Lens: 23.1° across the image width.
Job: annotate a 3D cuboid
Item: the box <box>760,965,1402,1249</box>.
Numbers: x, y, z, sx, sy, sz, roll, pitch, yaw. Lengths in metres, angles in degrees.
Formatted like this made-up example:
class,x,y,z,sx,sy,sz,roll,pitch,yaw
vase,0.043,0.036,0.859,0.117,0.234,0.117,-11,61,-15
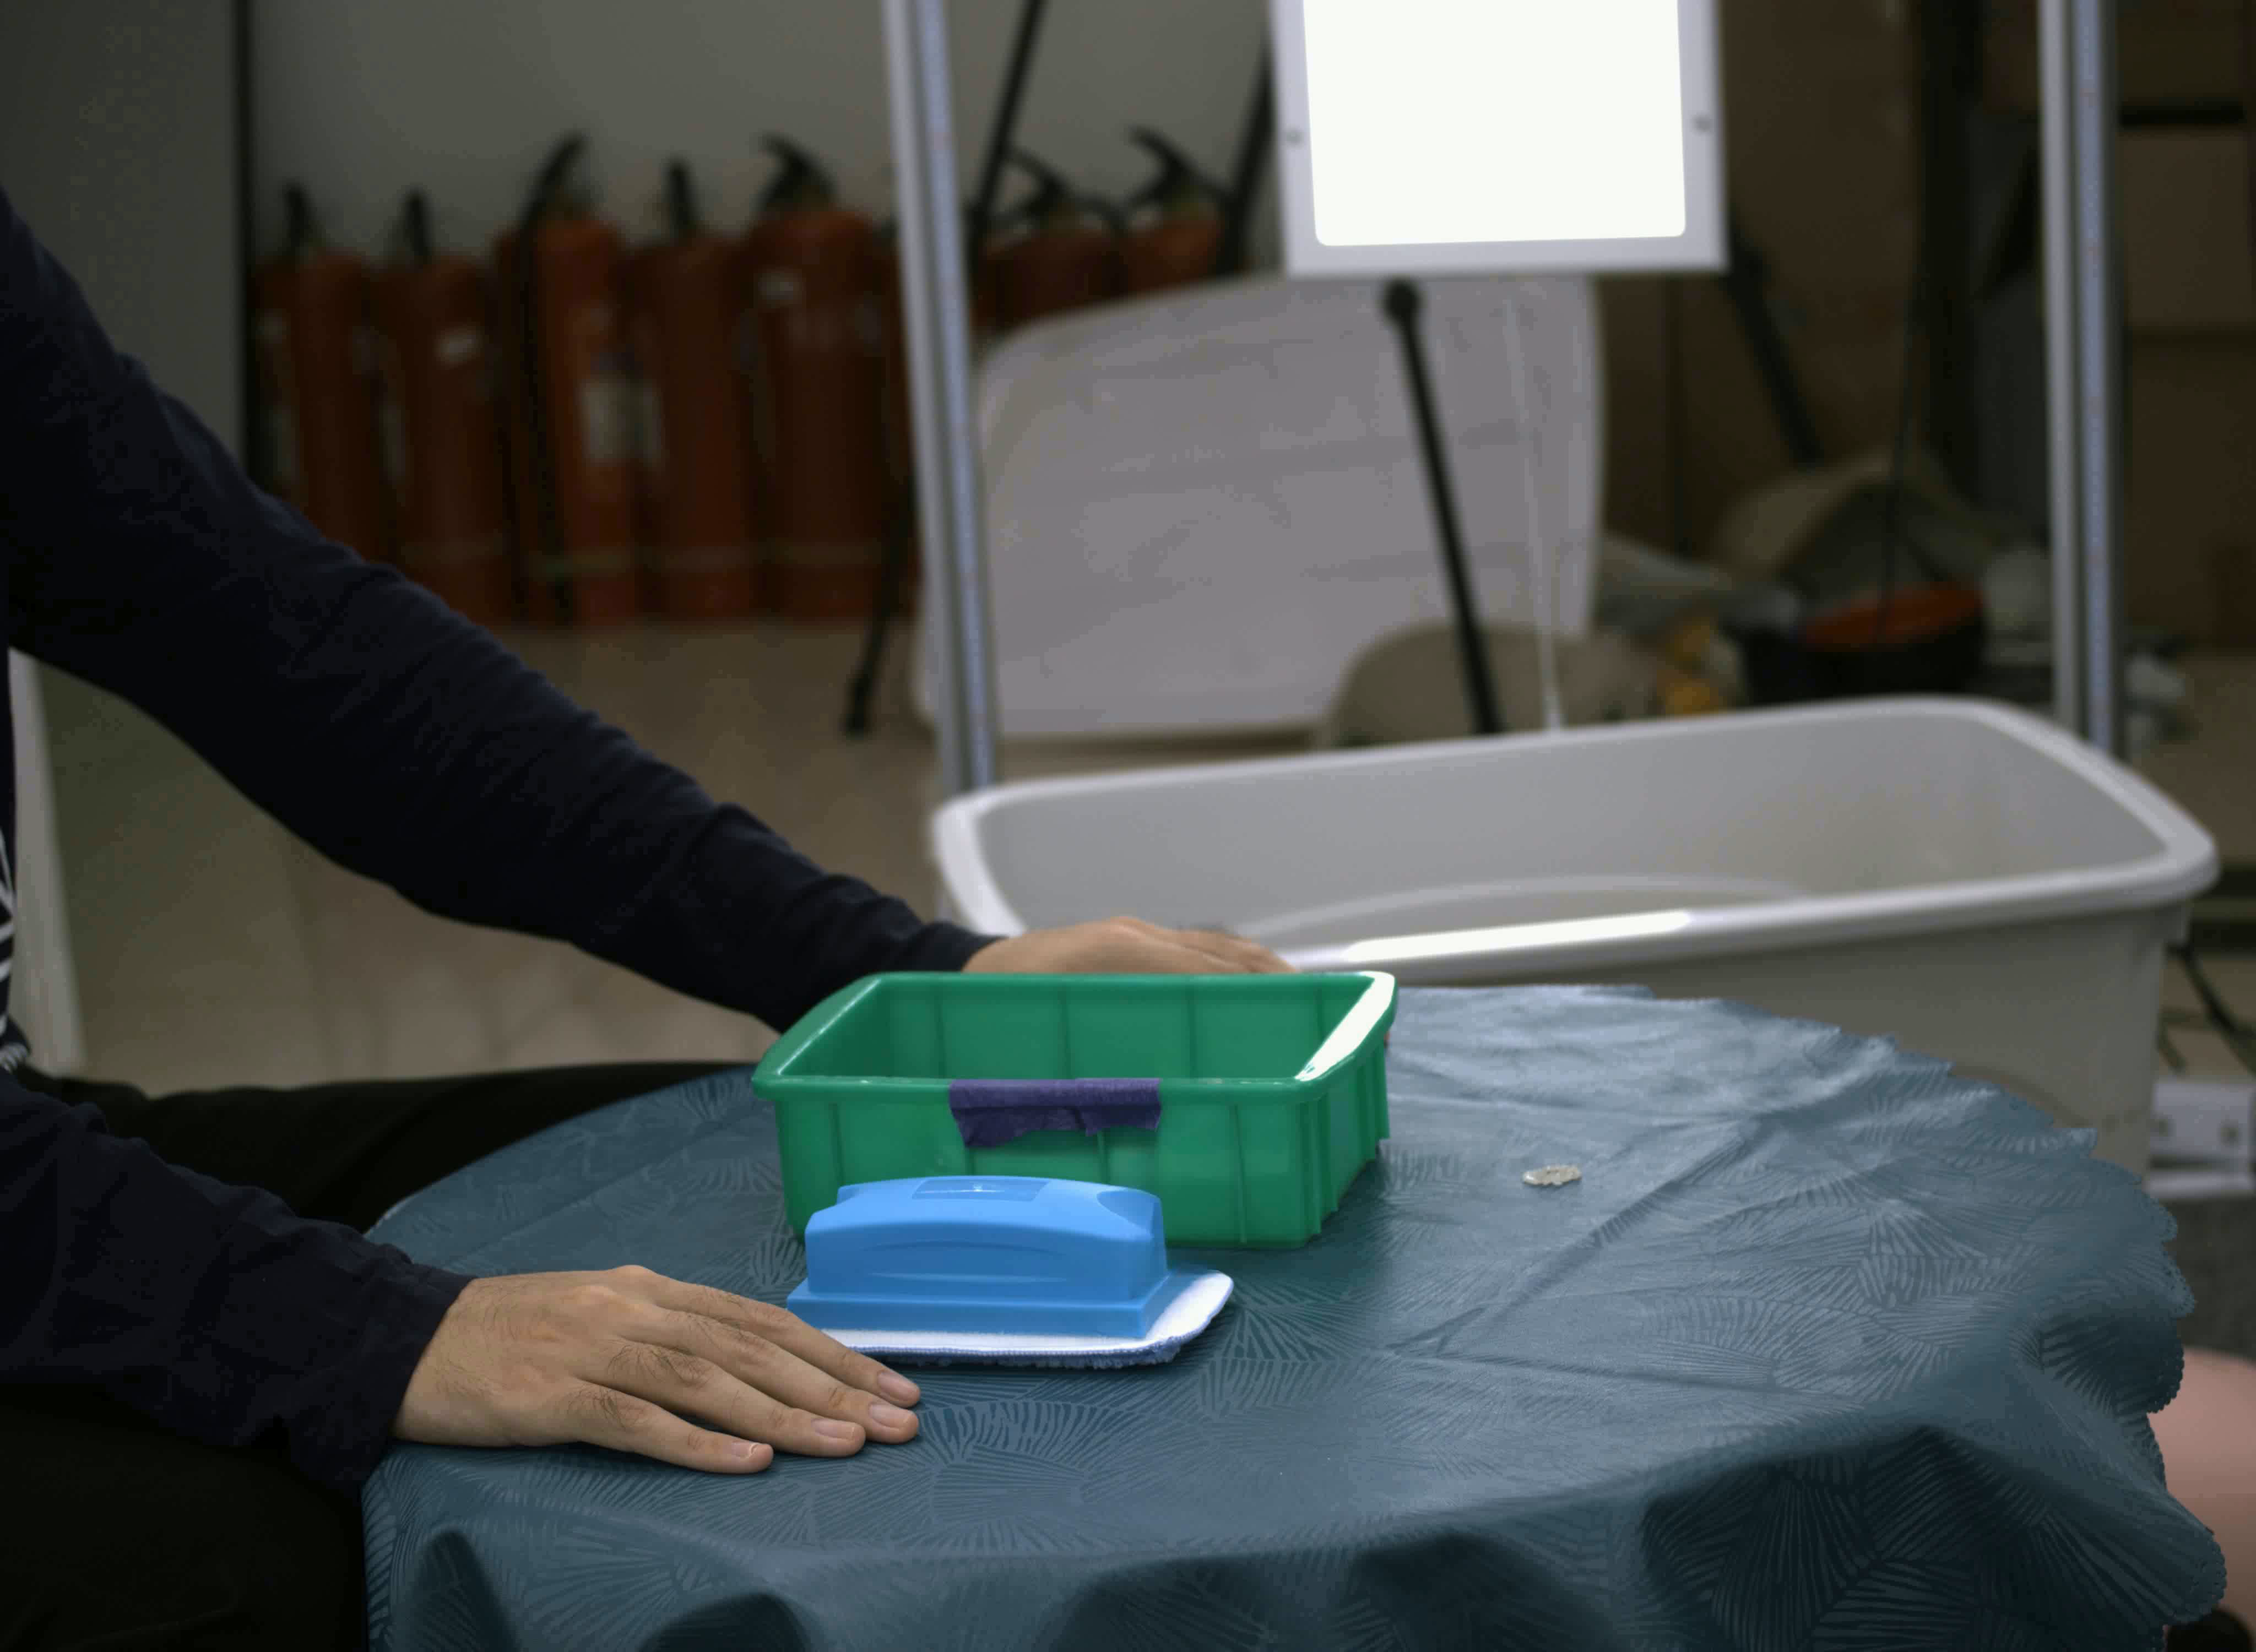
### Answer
class,x,y,z,sx,sy,sz,roll,pitch,yaw
box,-0.012,0.096,1.896,0.213,0.065,0.136,0,17,16

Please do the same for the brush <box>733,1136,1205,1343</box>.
class,x,y,z,sx,sy,sz,roll,pitch,yaw
brush,-0.050,0.131,1.757,0.145,0.056,0.082,5,14,19
